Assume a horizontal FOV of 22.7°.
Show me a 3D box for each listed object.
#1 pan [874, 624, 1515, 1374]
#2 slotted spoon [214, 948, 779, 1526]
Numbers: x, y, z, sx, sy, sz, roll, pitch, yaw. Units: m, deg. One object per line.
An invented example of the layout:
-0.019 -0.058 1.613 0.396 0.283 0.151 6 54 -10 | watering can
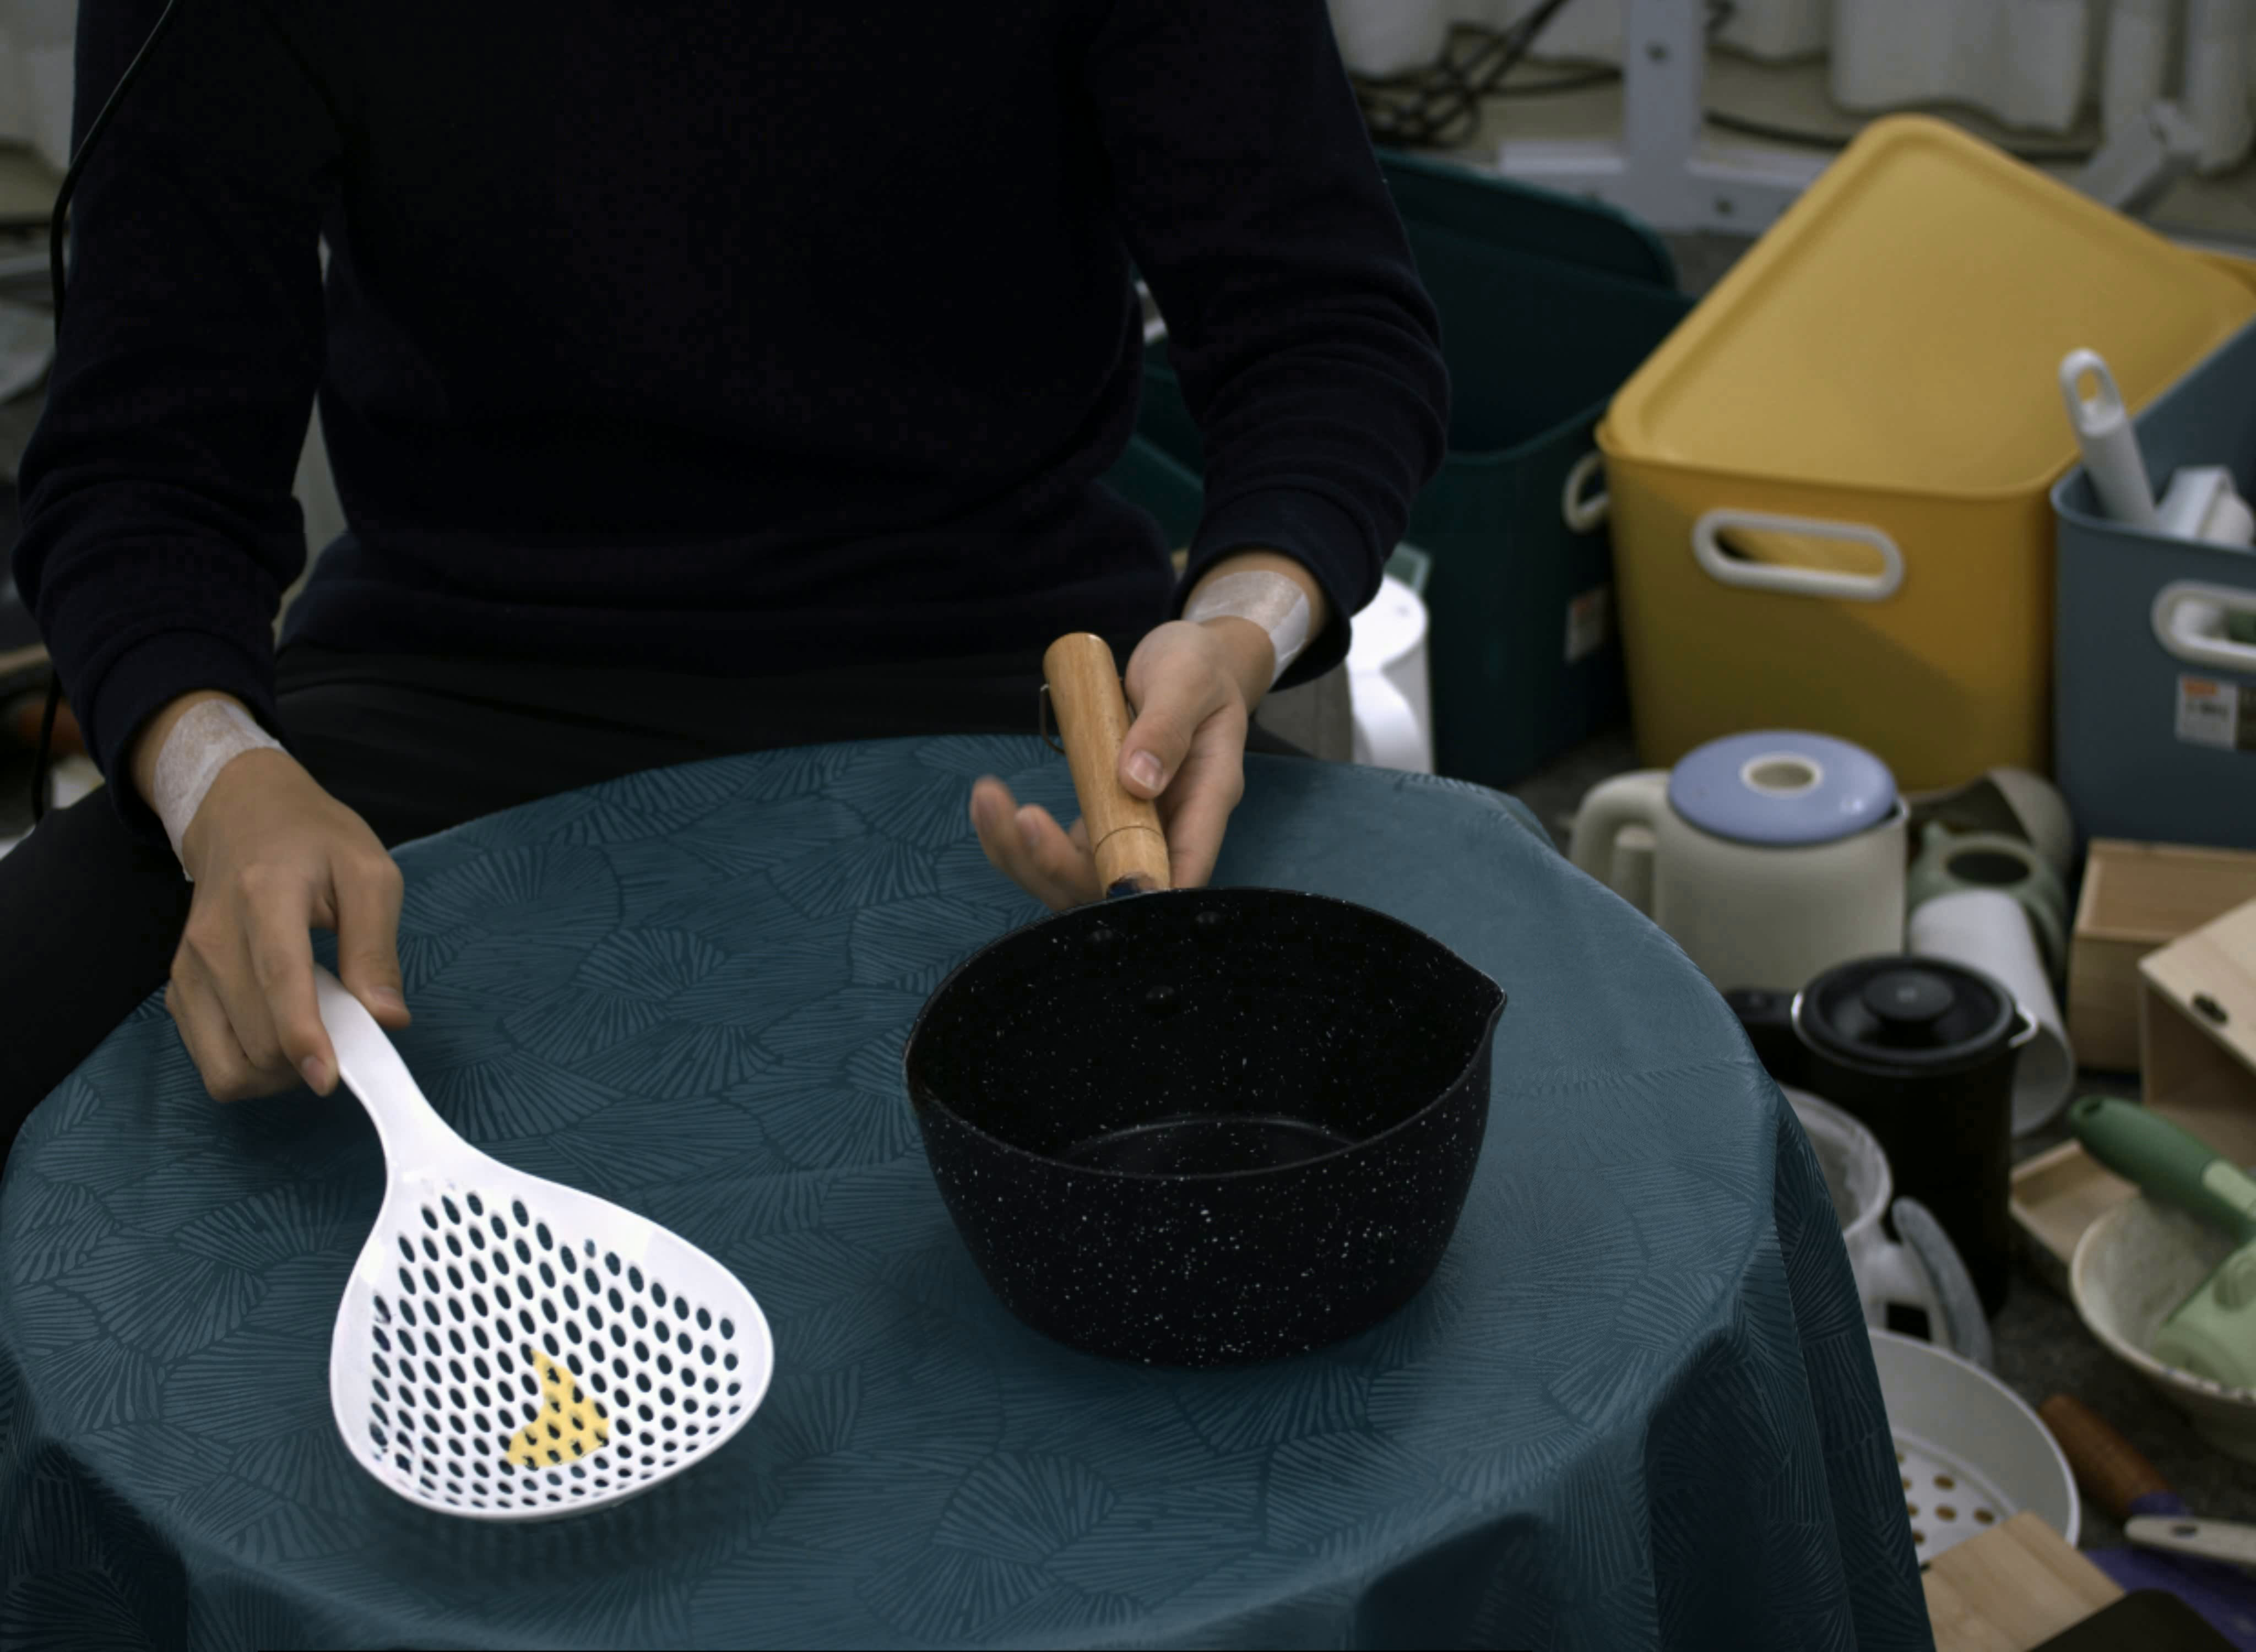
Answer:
0.010 0.054 1.876 0.207 0.107 0.347 -8 29 -8 | pan
-0.225 0.119 1.806 0.137 0.049 0.351 -20 42 -19 | slotted spoon
